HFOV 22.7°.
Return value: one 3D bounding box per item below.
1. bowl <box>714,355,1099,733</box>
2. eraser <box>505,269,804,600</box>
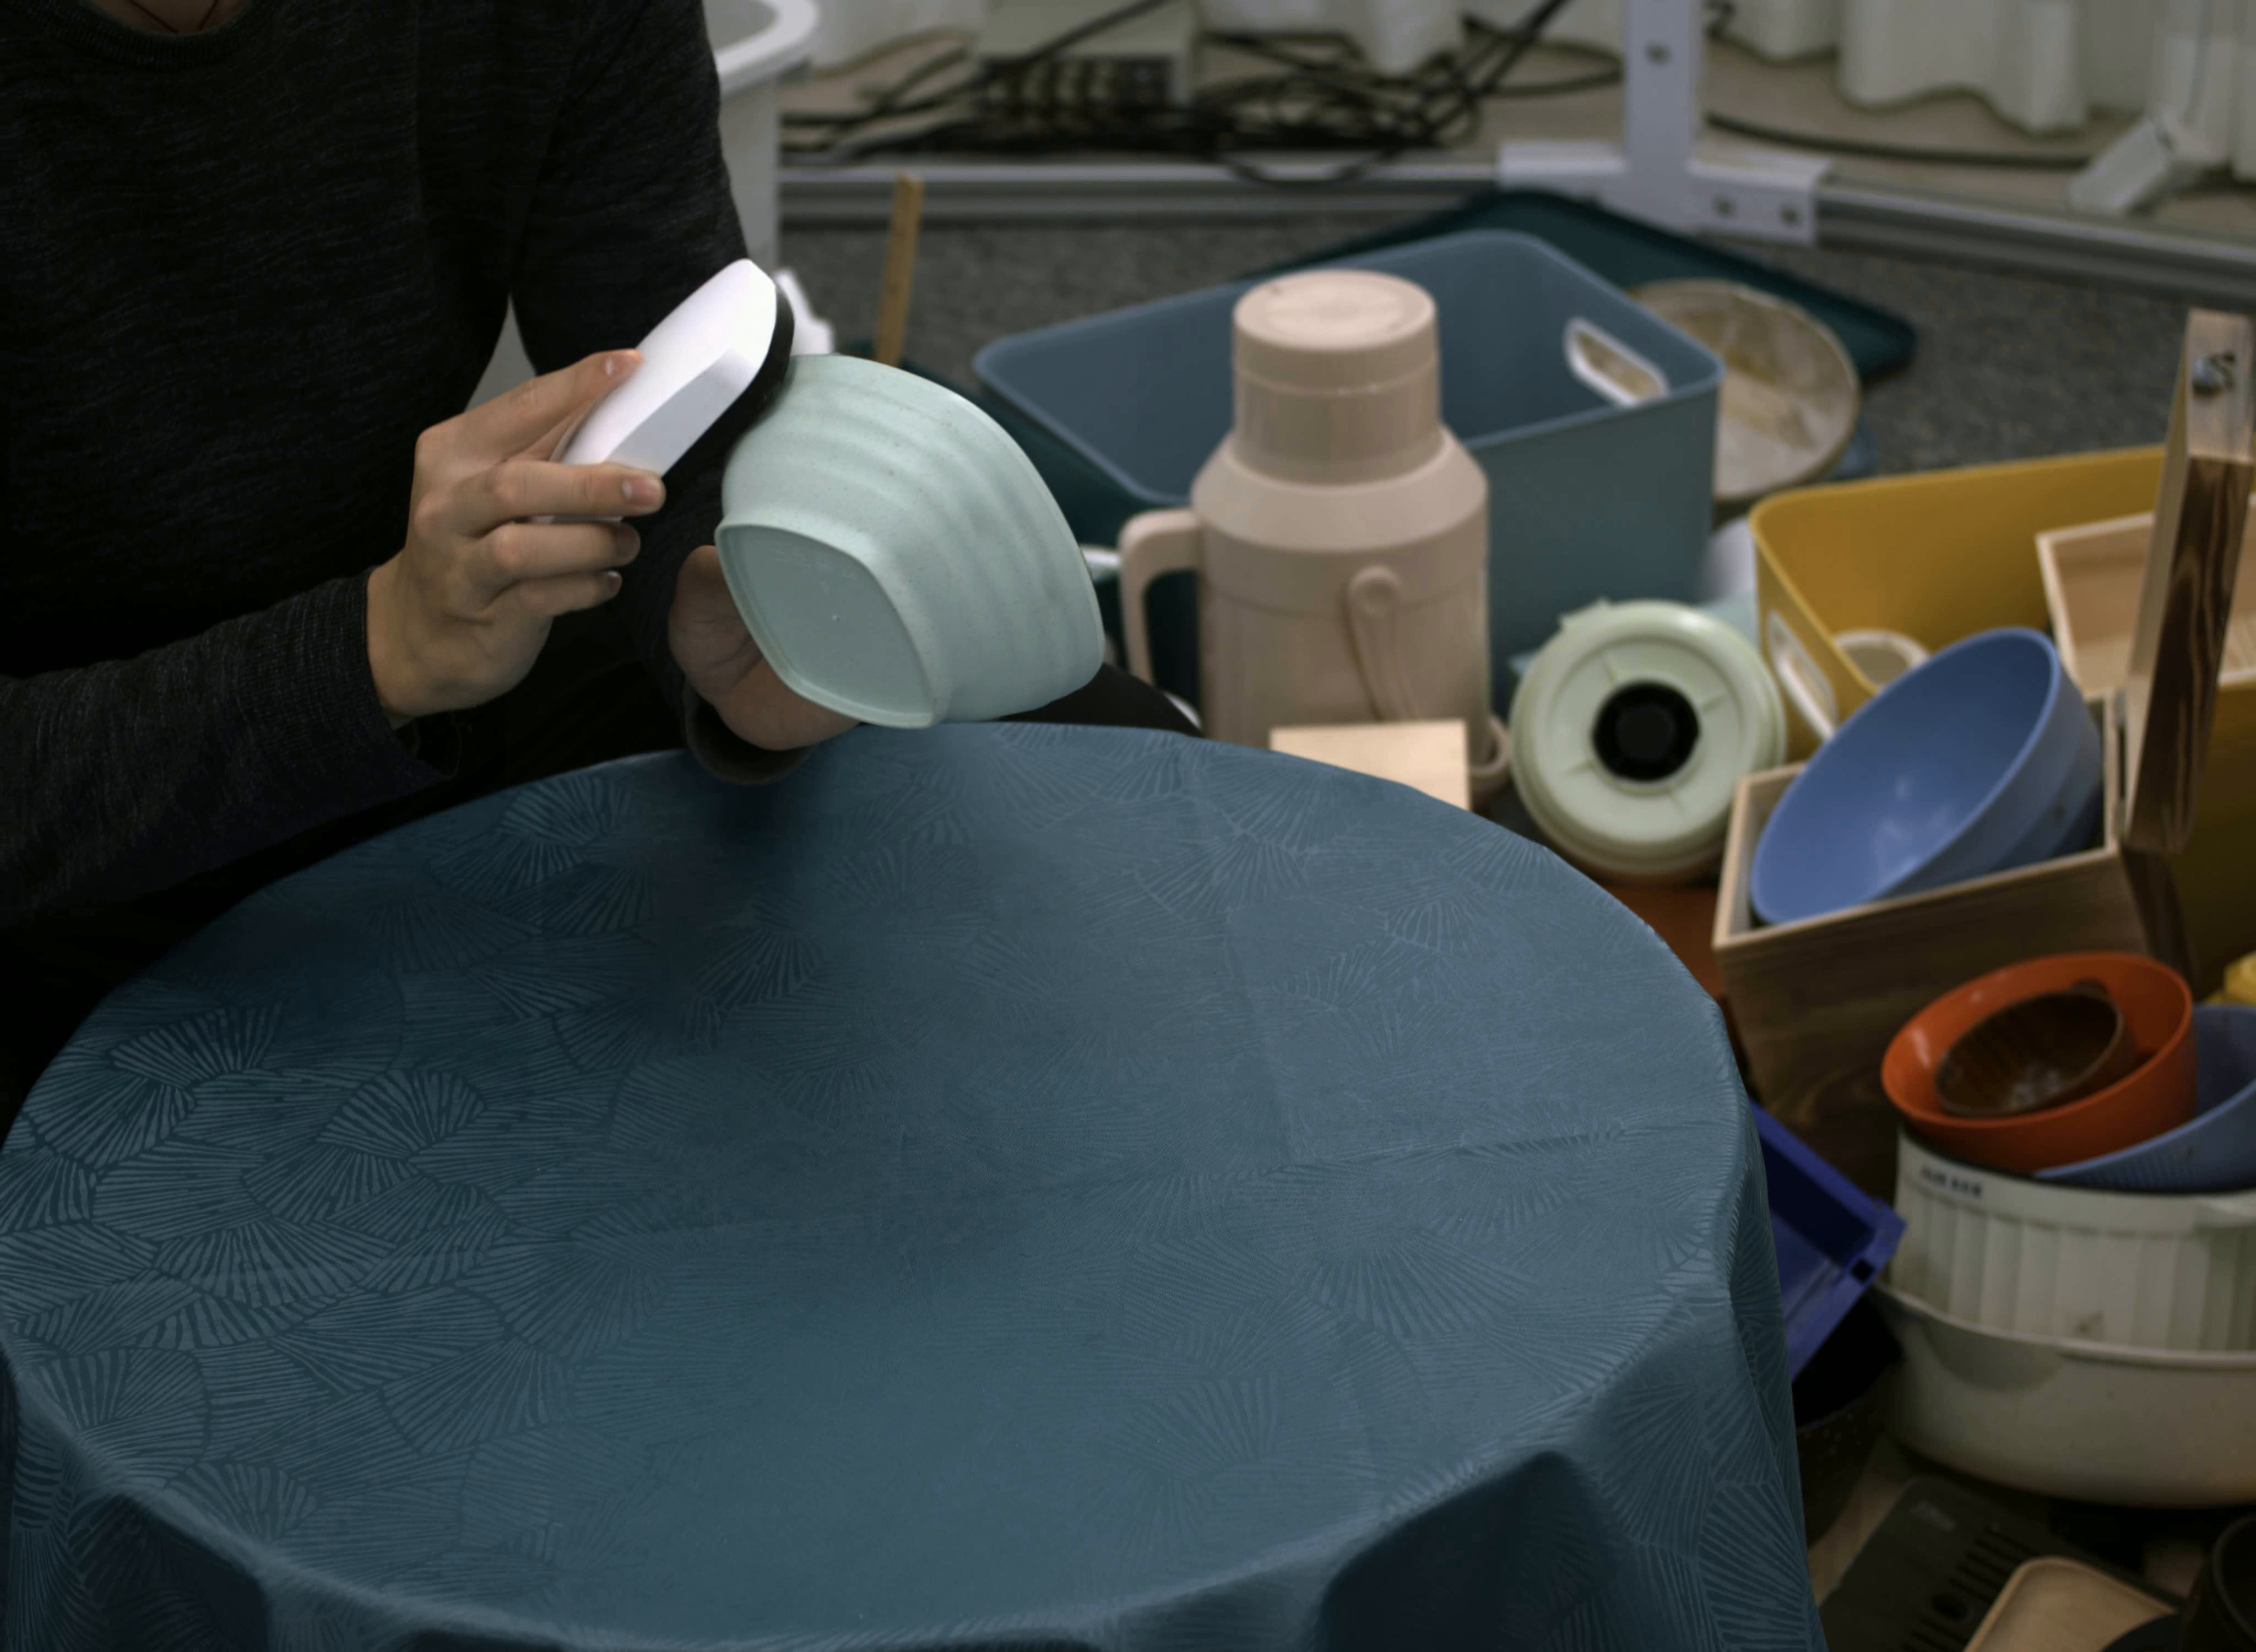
[{"bbox_3d":[-0.084,-0.083,1.865,0.151,0.149,0.059,20,52,37],"label":"bowl"},{"bbox_3d":[-0.161,-0.132,1.889,0.034,0.129,0.064,37,32,-20],"label":"eraser"}]
